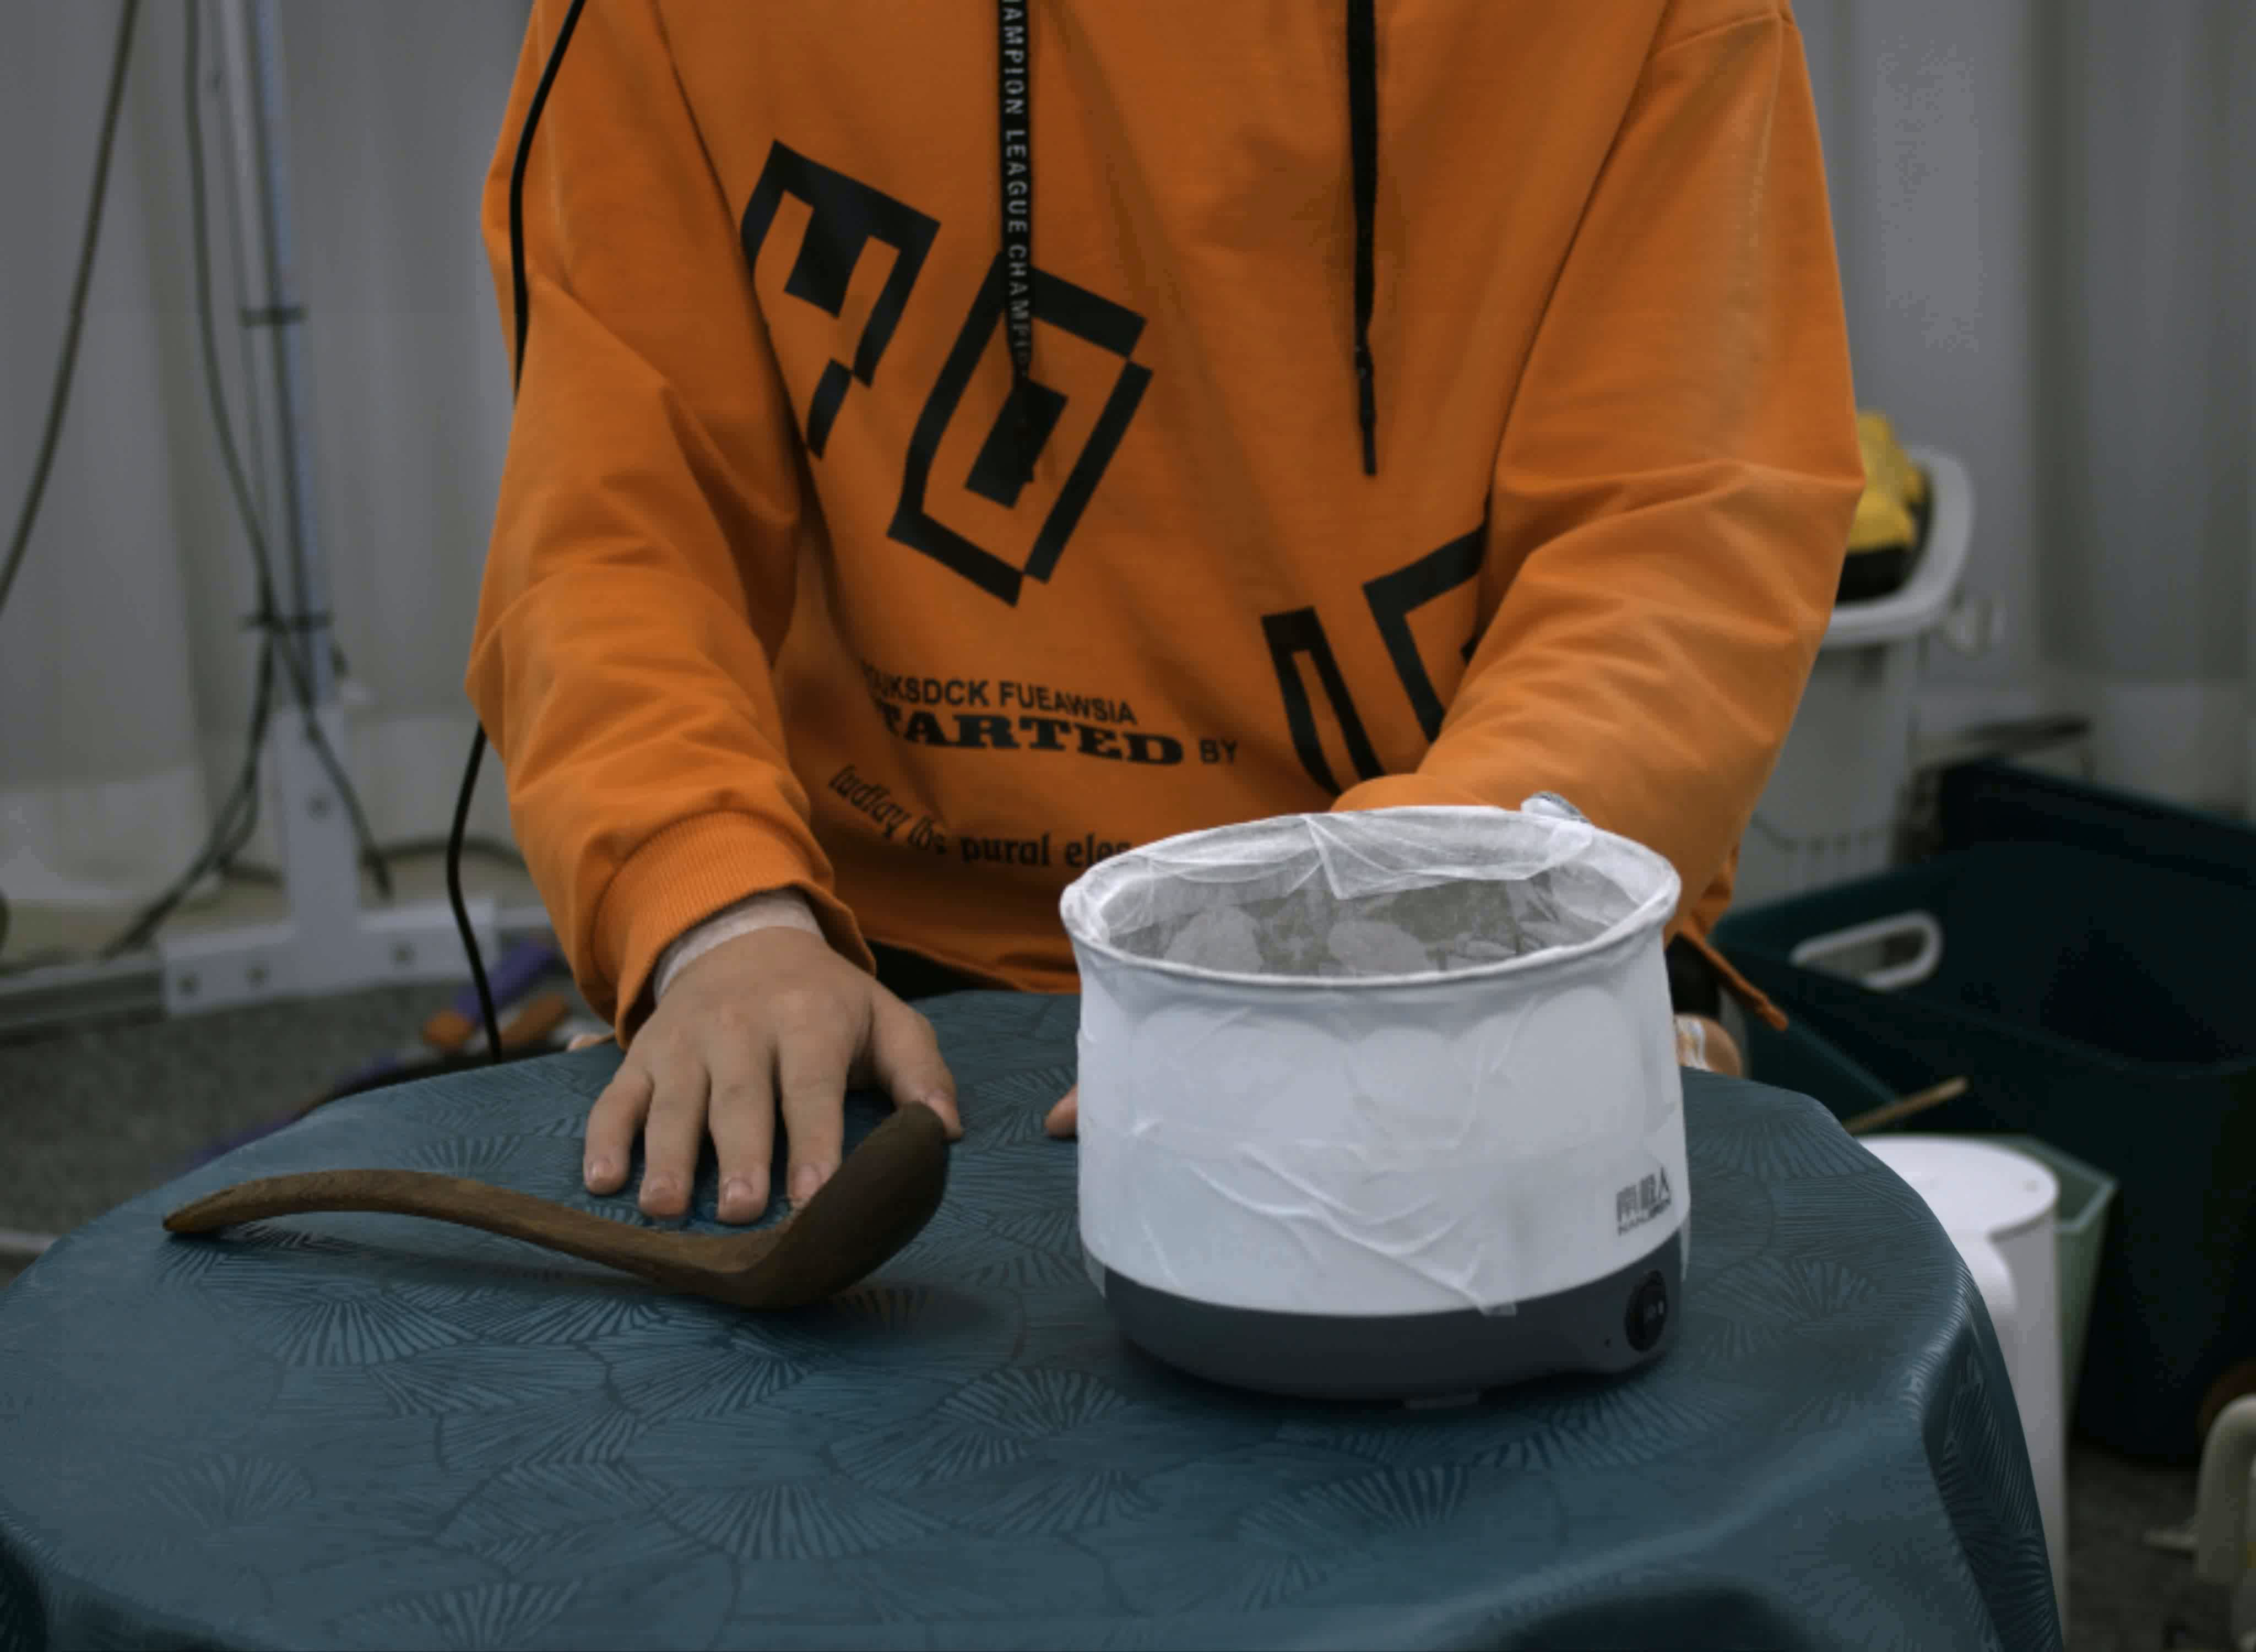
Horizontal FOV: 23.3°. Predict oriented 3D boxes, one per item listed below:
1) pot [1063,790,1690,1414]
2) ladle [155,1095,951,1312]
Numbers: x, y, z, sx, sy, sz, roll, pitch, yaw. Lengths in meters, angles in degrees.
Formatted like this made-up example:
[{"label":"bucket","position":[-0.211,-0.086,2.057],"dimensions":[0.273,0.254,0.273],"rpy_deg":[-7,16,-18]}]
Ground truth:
[{"label":"pot","position":[0.087,0.073,1.591],"dimensions":[0.179,0.136,0.234],"rpy_deg":[7,18,32]},{"label":"ladle","position":[-0.180,0.103,1.660],"dimensions":[0.274,0.071,0.076],"rpy_deg":[5,13,26]}]
